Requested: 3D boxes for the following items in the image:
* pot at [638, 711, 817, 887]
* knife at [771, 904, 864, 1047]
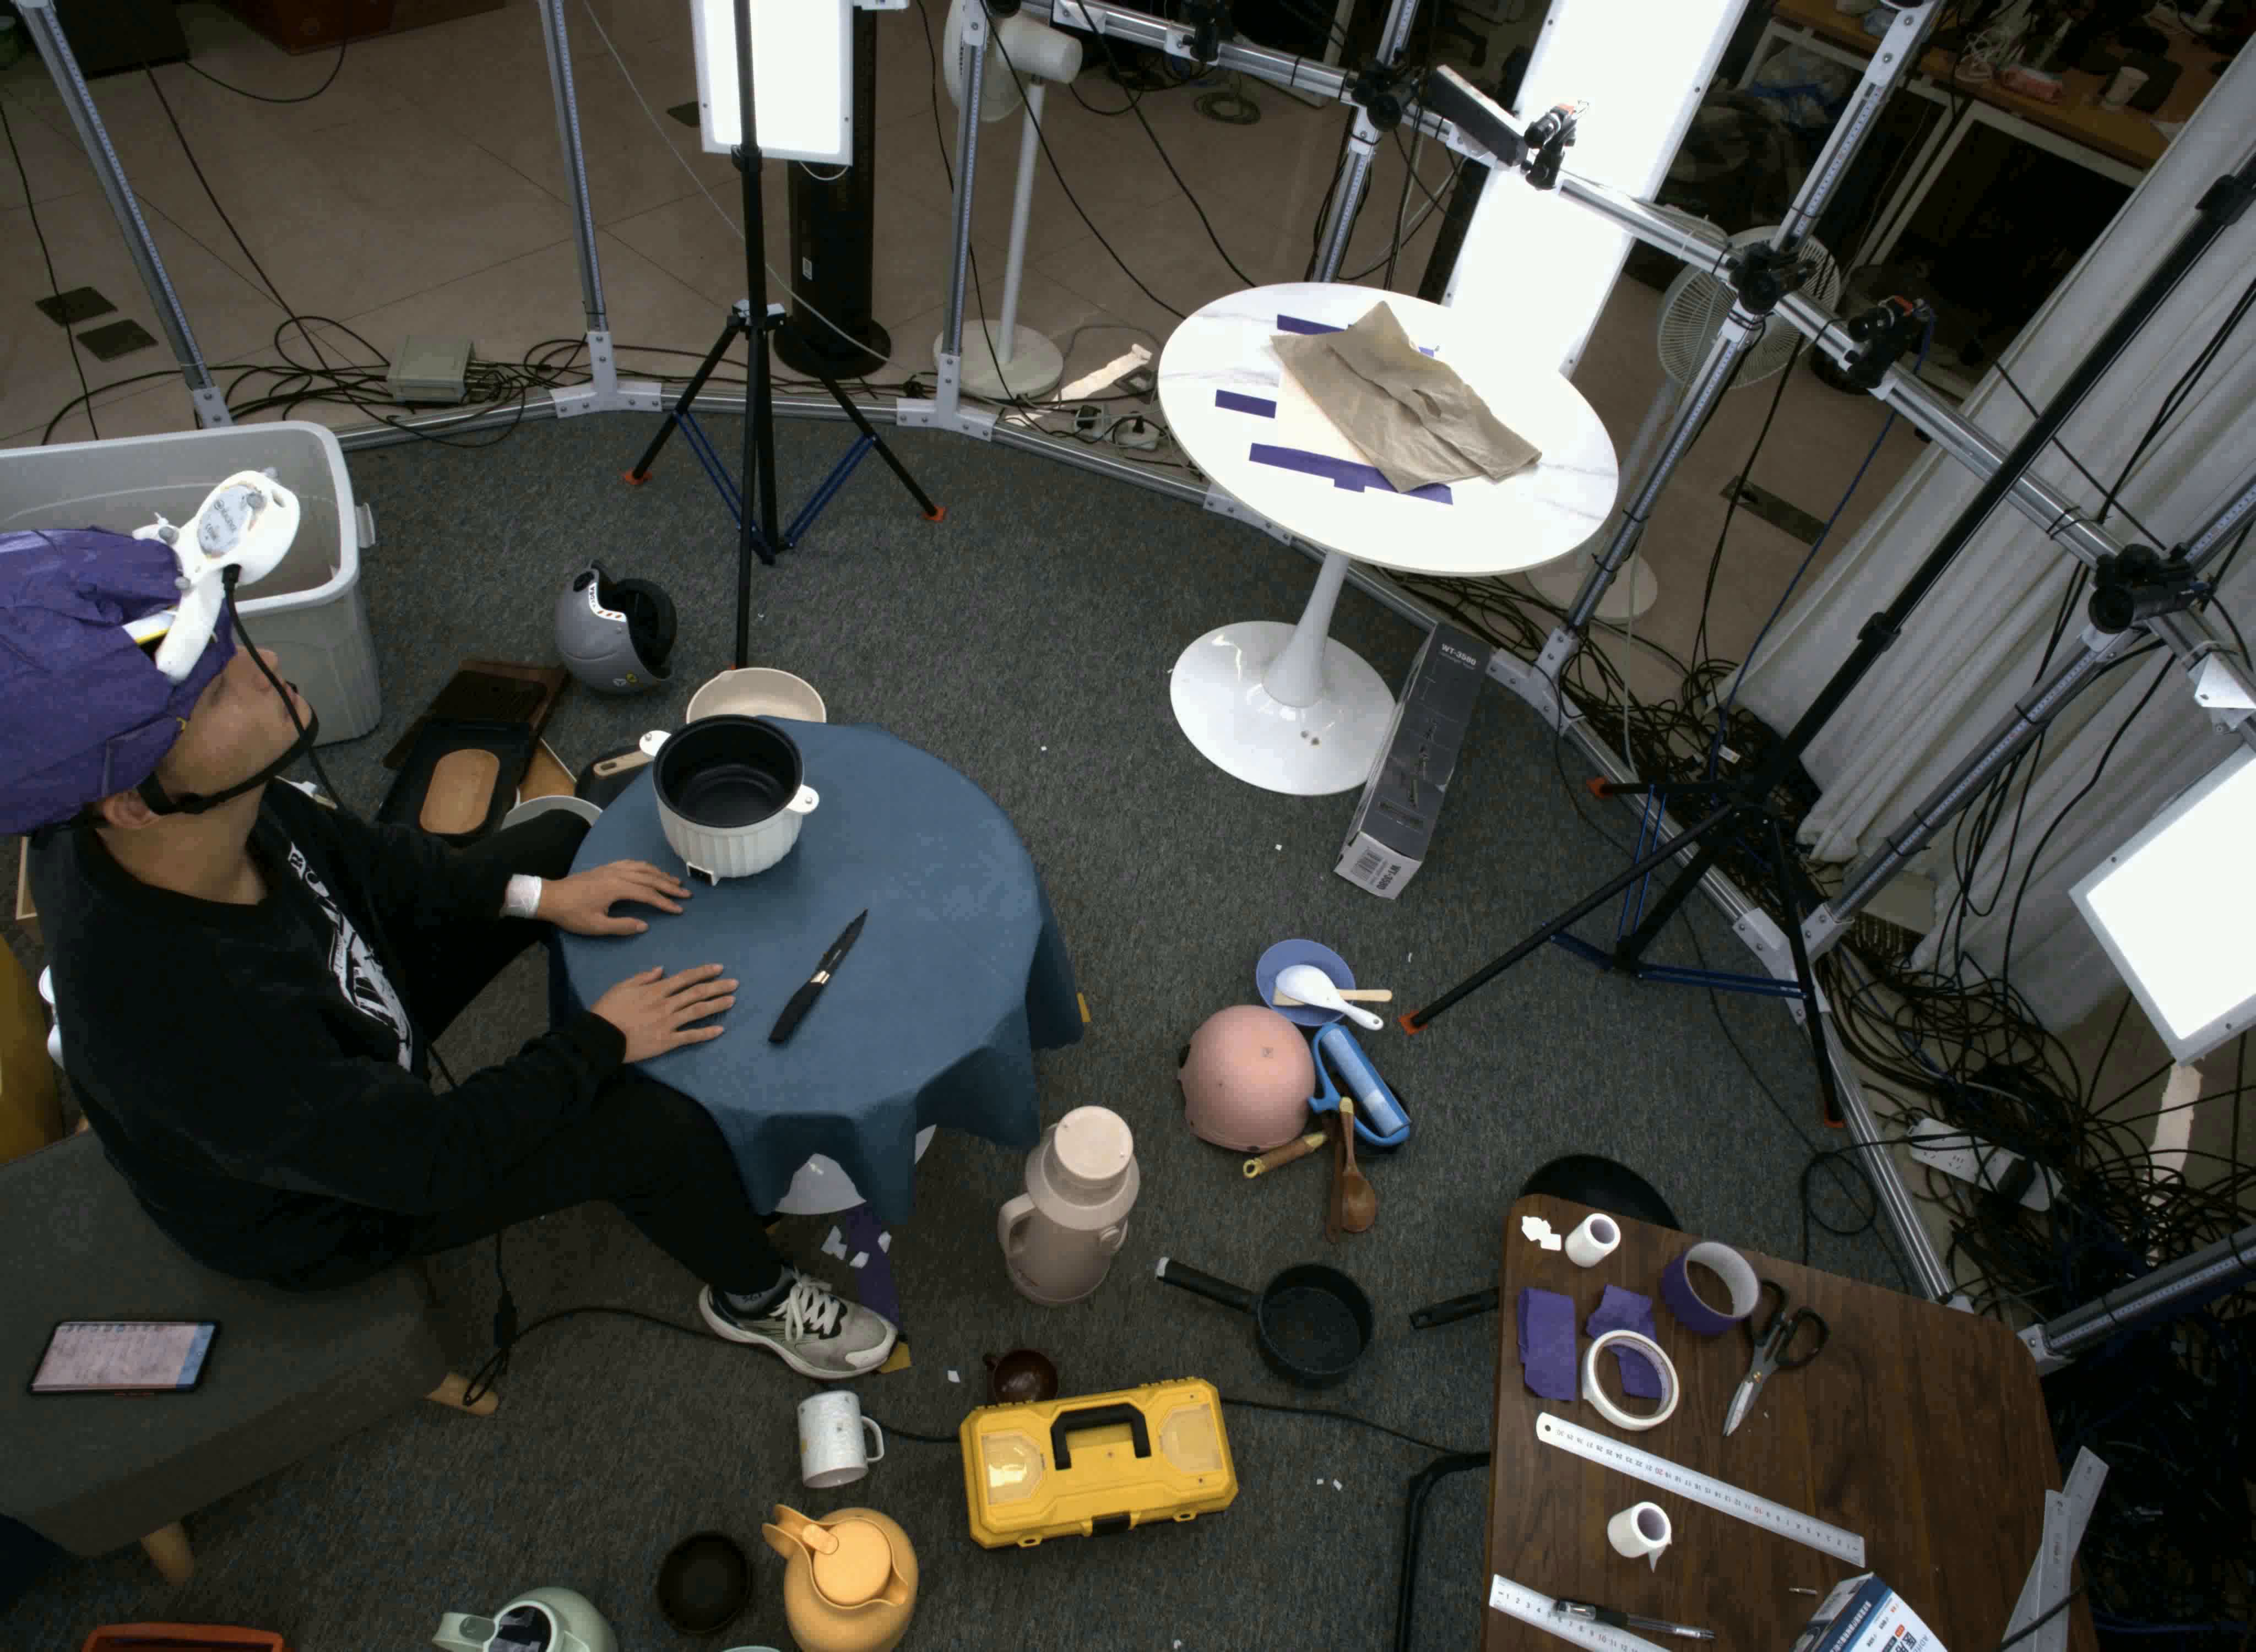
[{"bbox_3d":[-0.503,-0.037,1.638,0.238,0.145,0.189,20,55,1],"label":"pot"},{"bbox_3d":[-0.376,0.177,1.596,0.025,0.018,0.224,14,49,16],"label":"knife"}]
